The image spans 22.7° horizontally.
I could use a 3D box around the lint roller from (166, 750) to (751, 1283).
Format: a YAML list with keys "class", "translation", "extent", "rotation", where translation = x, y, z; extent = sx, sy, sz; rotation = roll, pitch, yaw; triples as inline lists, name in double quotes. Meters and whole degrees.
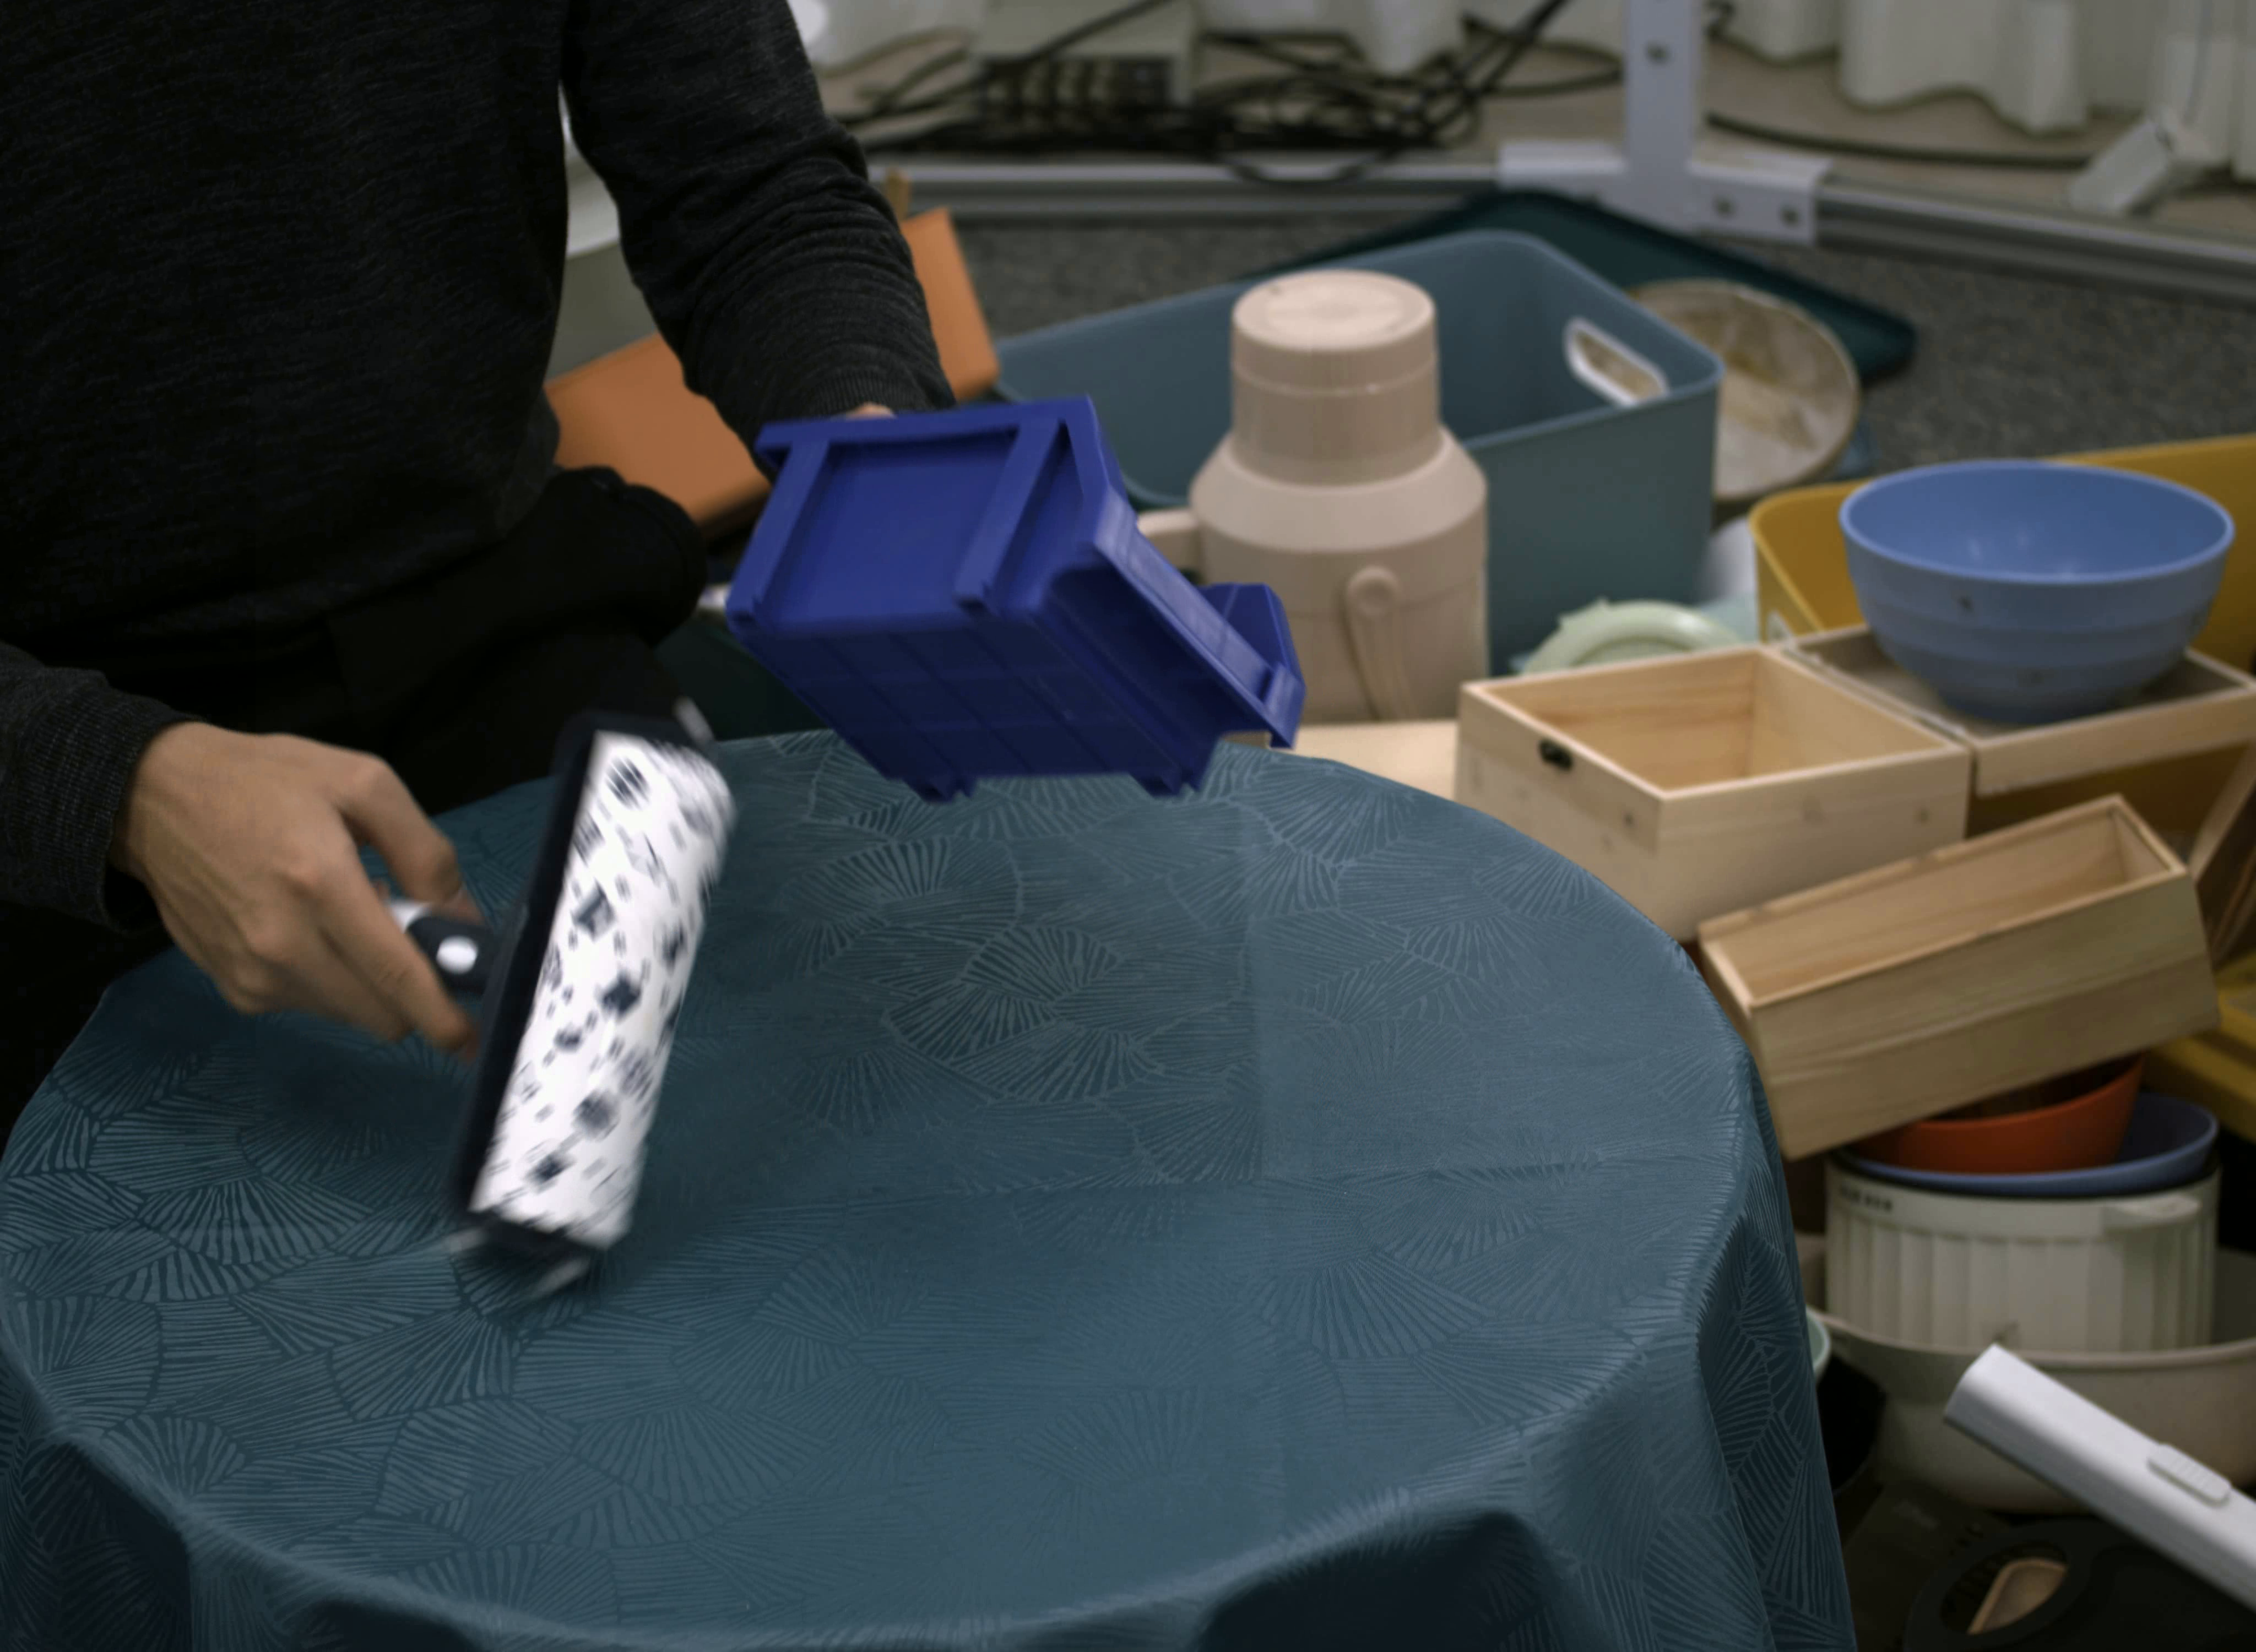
- class: "lint roller"
  translation: [-0.247, 0.048, 1.895]
  extent: [0.245, 0.178, 0.050]
  rotation: [11, -15, 39]

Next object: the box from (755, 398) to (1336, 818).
- class: "box"
  translation: [-0.027, -0.071, 1.900]
  extent: [0.177, 0.123, 0.083]
  rotation: [-6, 54, 39]
